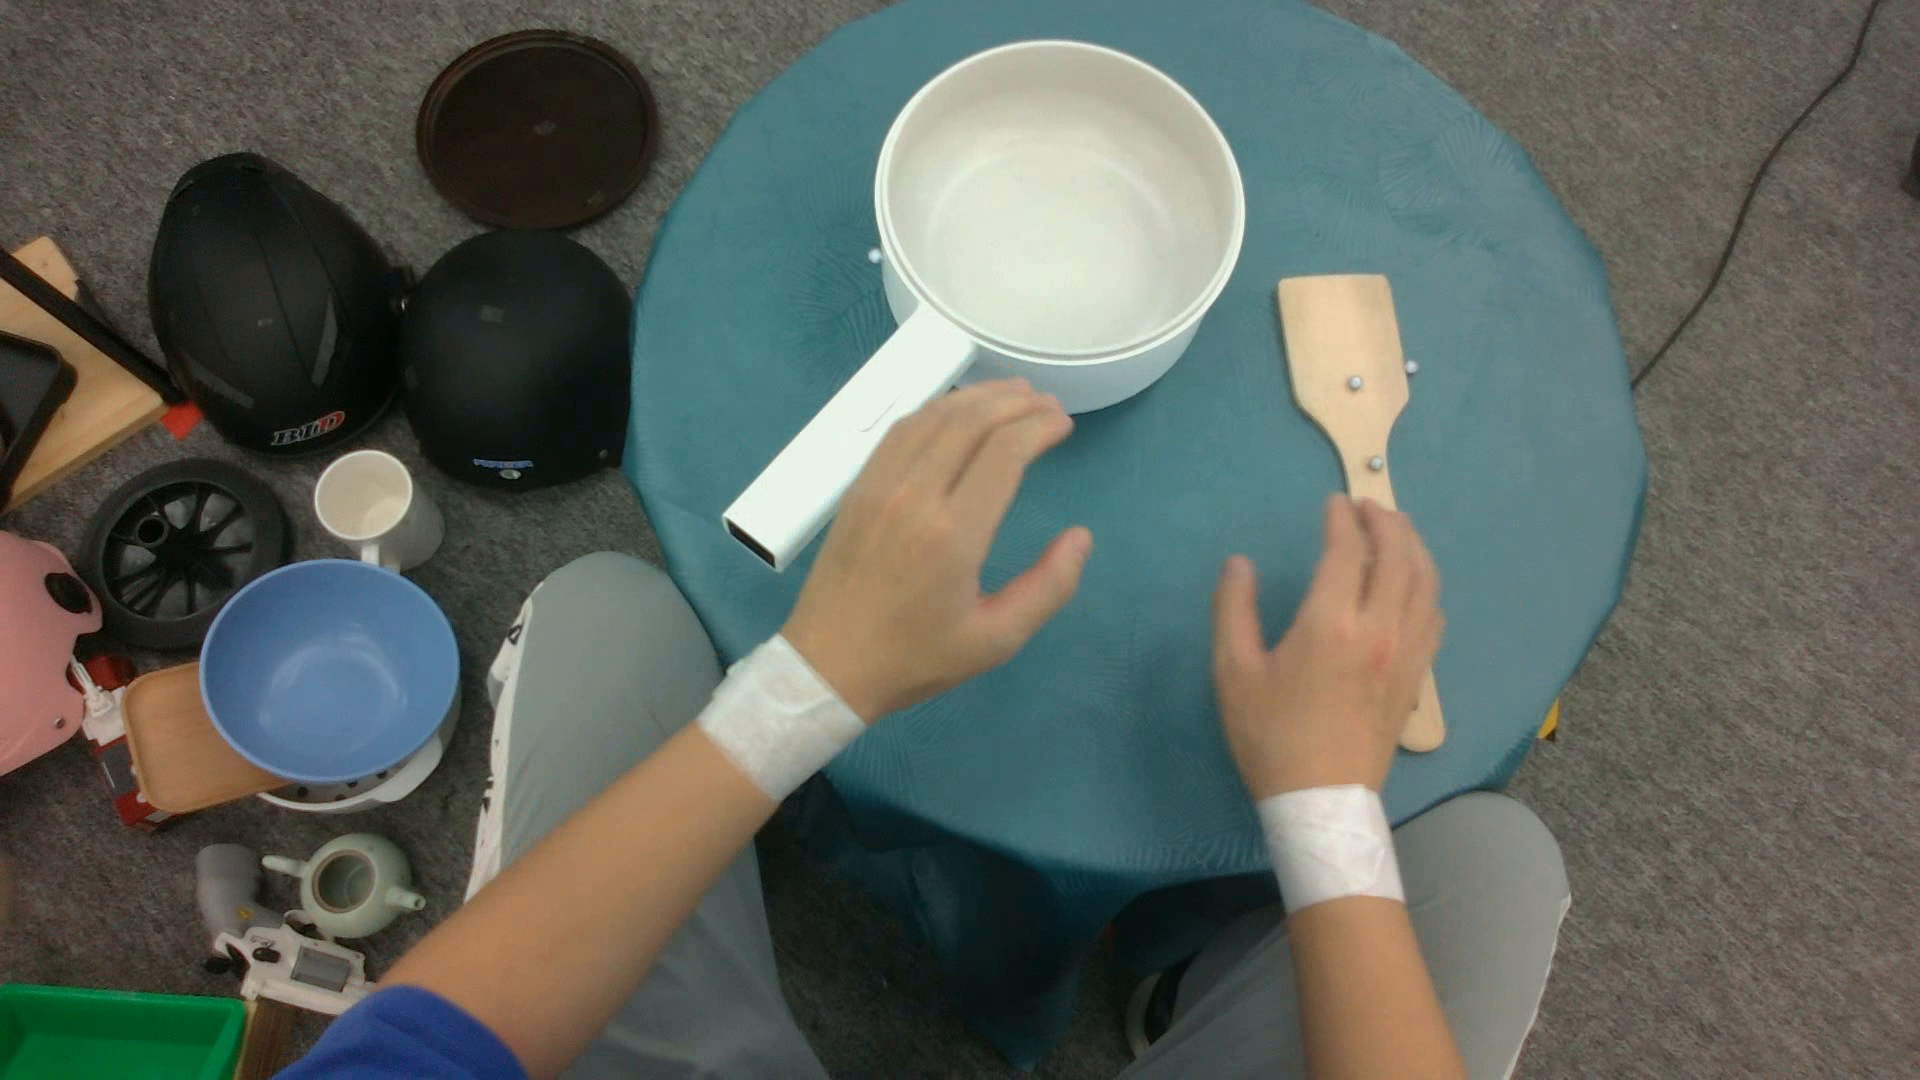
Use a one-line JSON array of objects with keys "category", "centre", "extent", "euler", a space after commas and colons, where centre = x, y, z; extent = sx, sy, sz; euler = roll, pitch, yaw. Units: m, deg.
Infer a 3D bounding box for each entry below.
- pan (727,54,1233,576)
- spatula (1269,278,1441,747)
[{"category": "pan", "centre": [0.003, -0.114, 0.779], "extent": [0.201, 0.102, 0.356], "euler": [37, 72, 8]}, {"category": "spatula", "centre": [0.239, -0.024, 0.804], "extent": [0.072, 0.010, 0.294], "euler": [-4, 70, -6]}]
